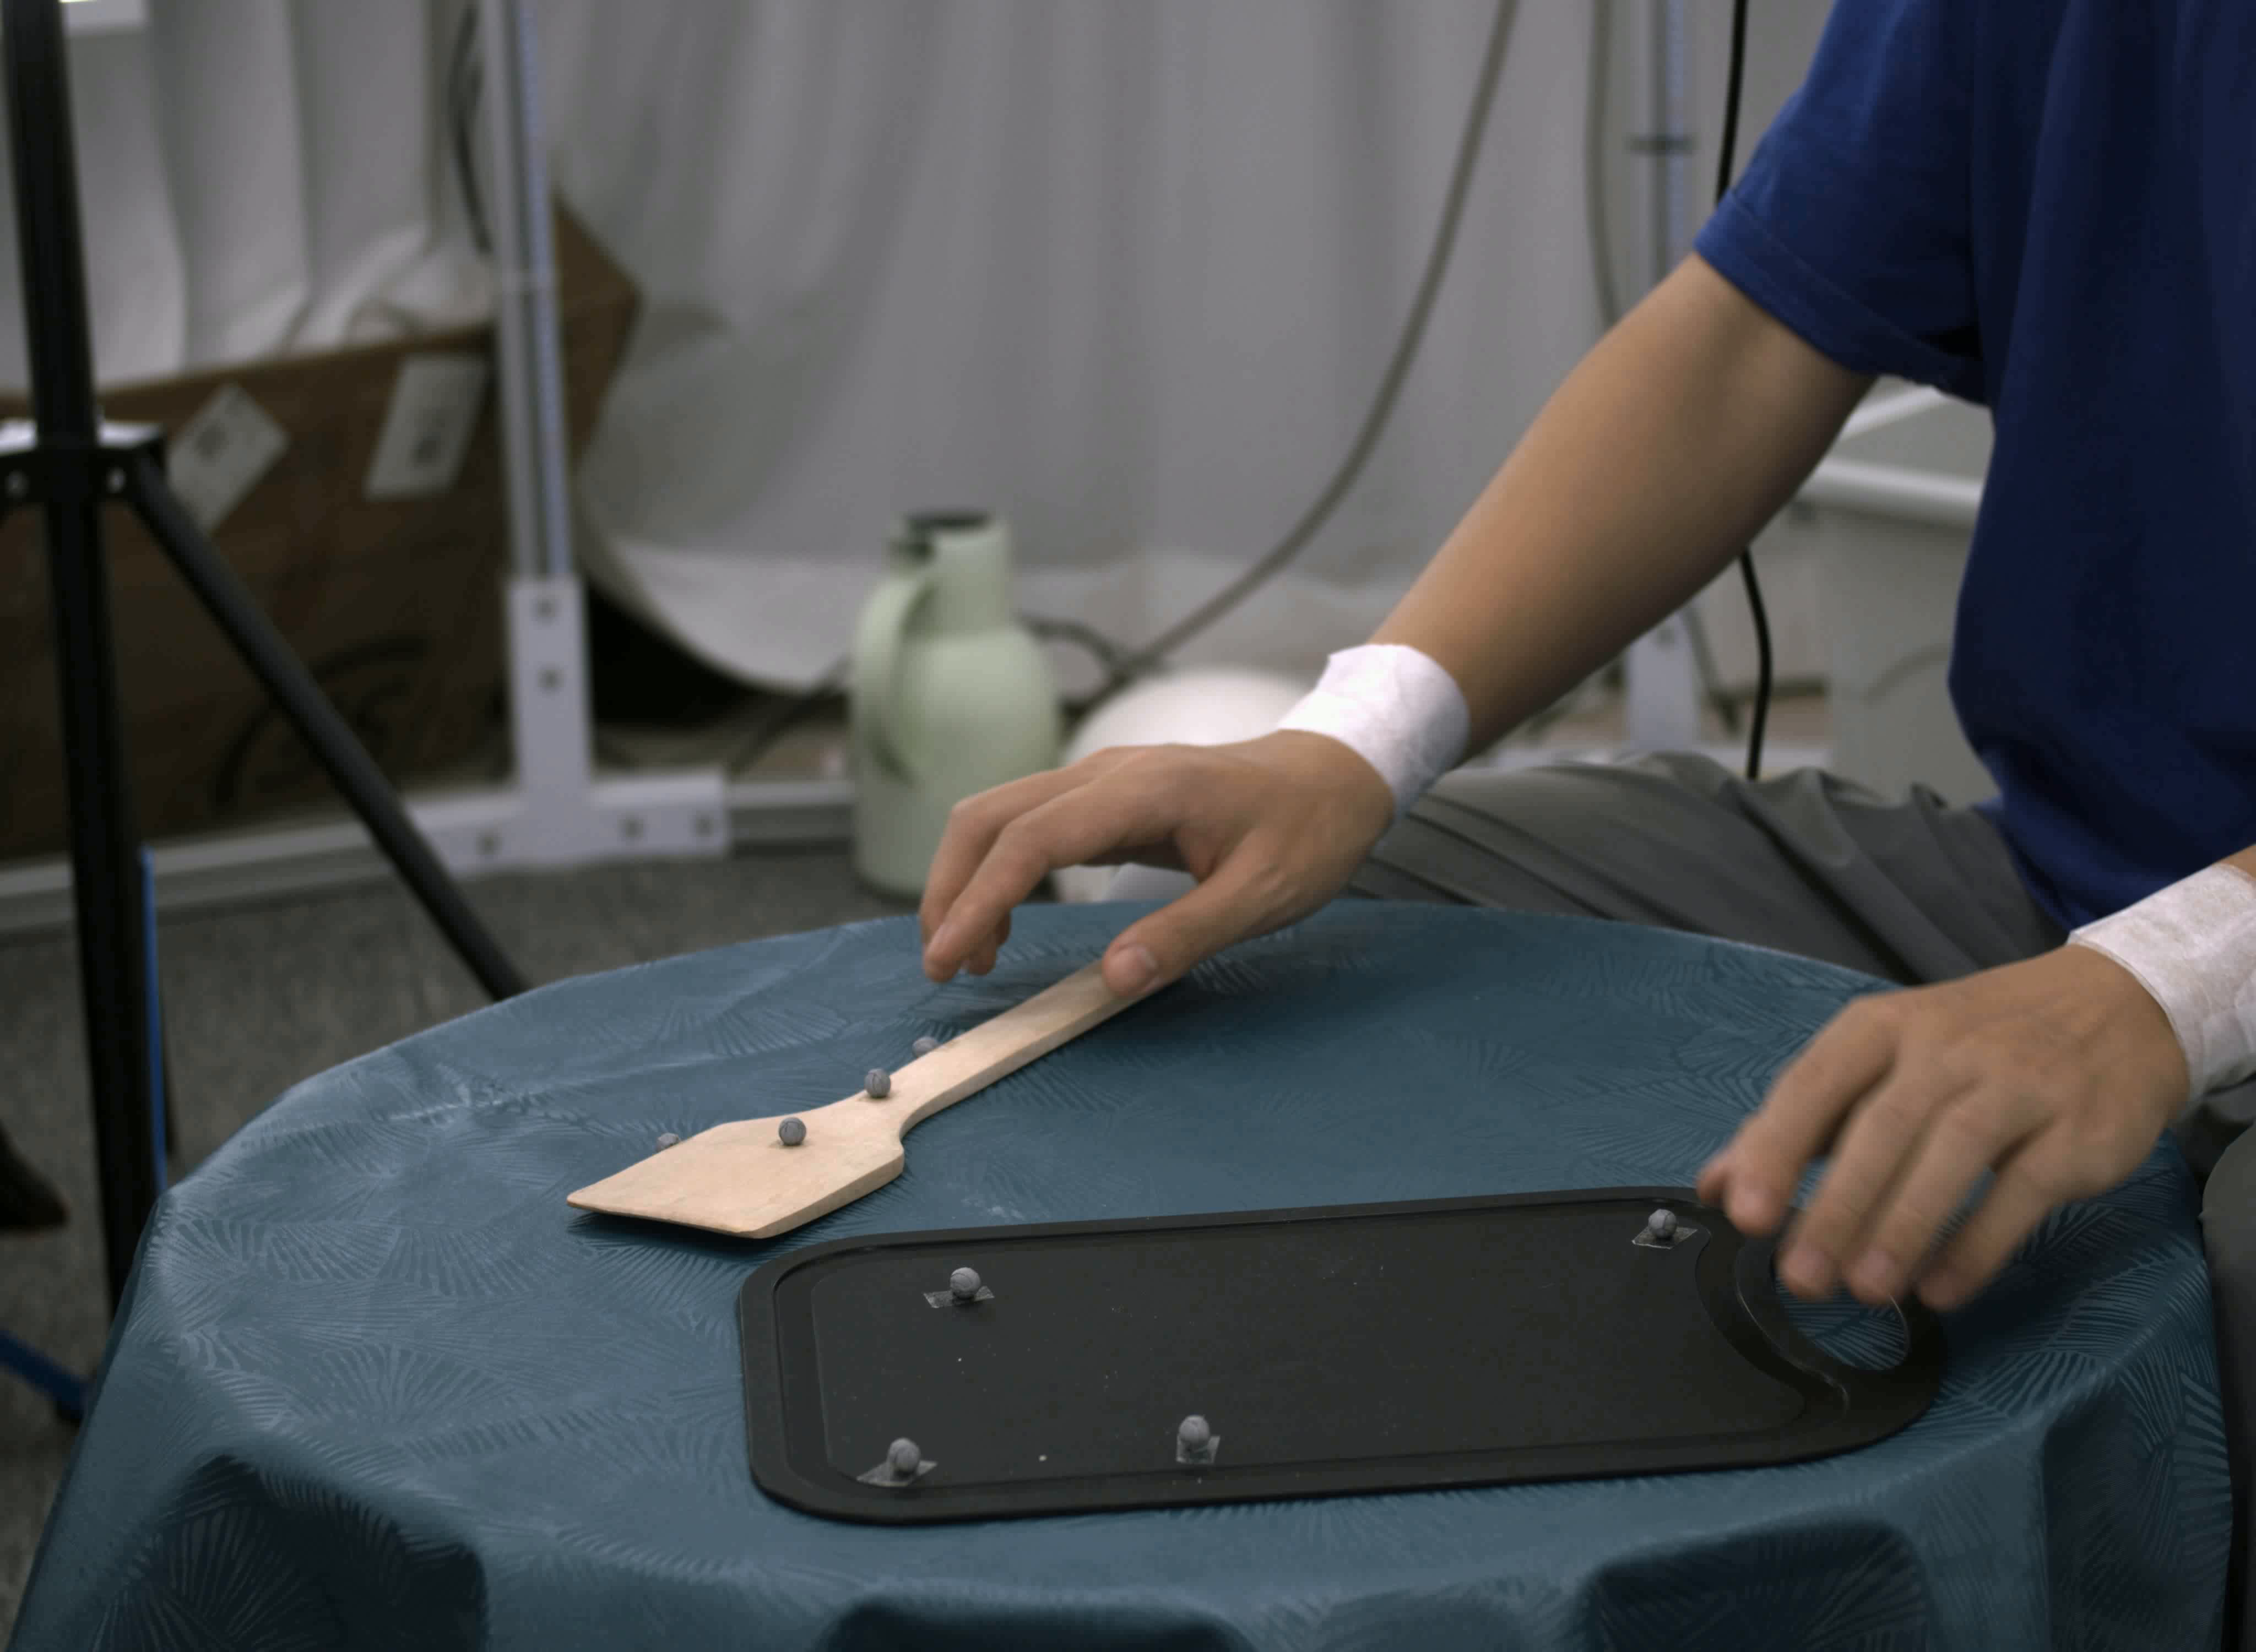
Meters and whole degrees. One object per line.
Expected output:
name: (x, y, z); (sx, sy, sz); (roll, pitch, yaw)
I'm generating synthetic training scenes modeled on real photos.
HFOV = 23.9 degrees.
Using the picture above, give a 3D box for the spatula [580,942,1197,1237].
spatula: (-0.060, 0.079, 1.654); (0.073, 0.010, 0.287); (6, 18, 31)

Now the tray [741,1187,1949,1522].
tray: (0.058, 0.138, 1.430); (0.323, 0.010, 0.212); (-3, 16, -2)
